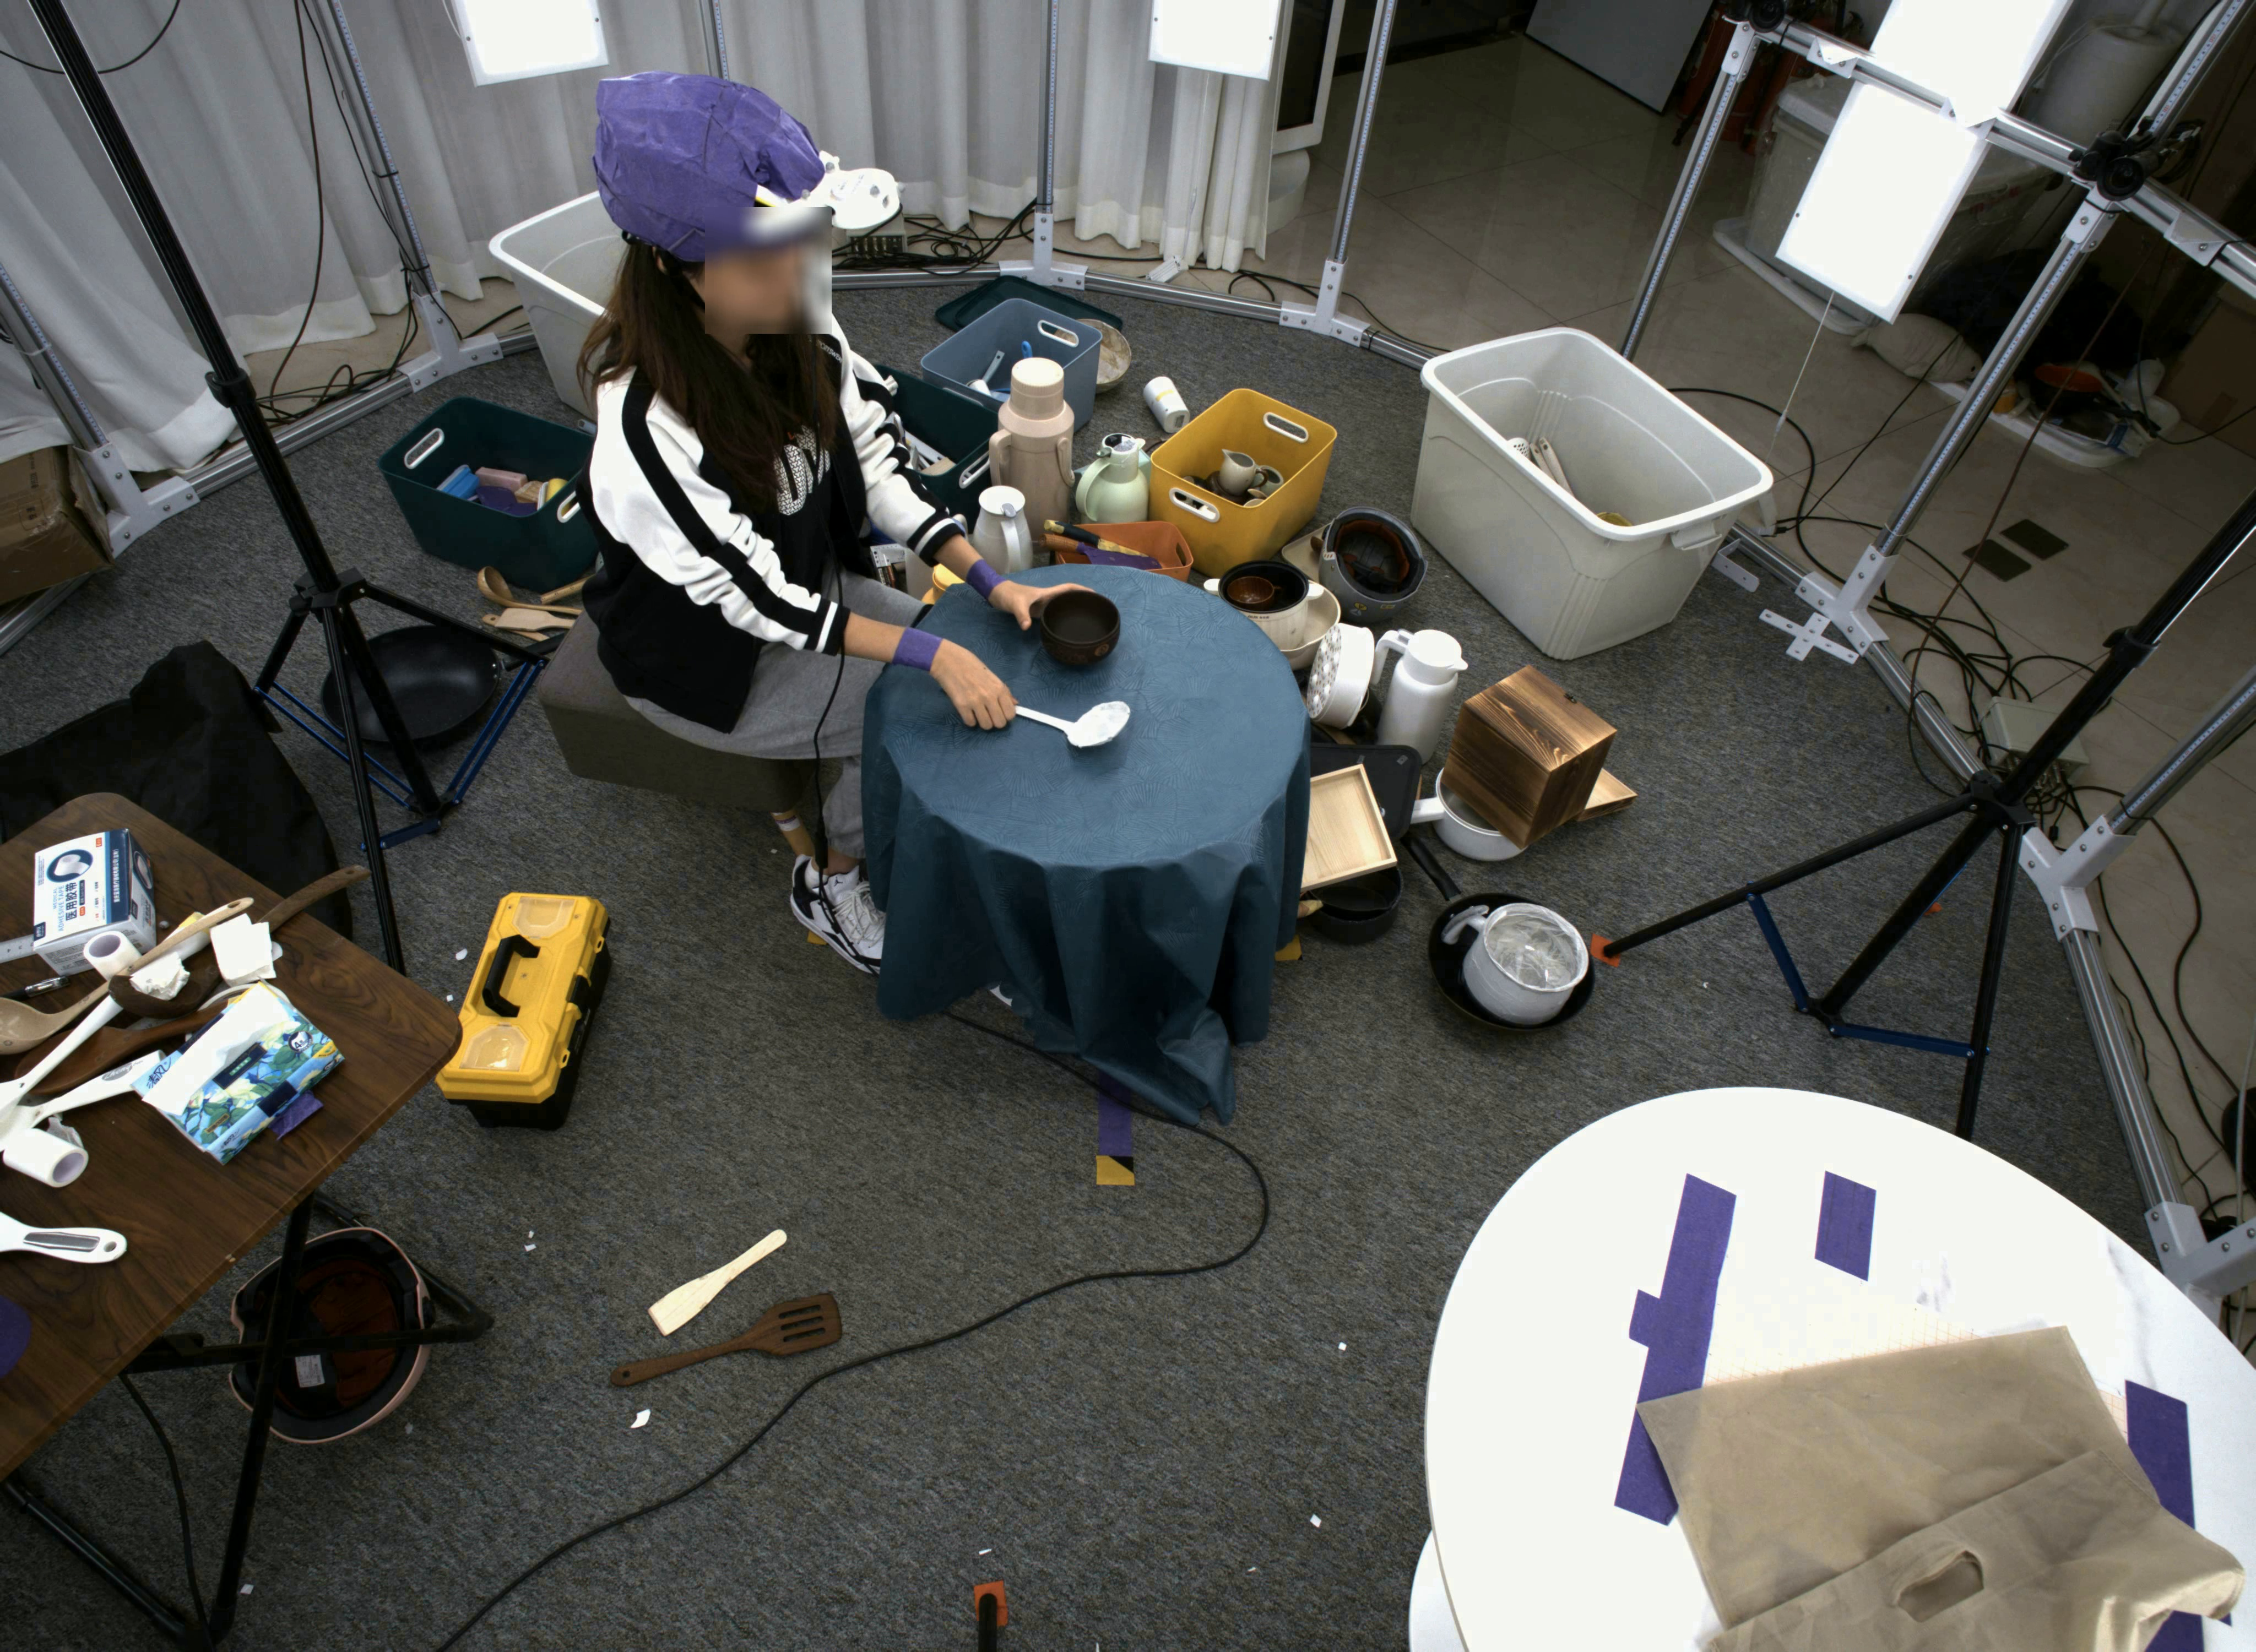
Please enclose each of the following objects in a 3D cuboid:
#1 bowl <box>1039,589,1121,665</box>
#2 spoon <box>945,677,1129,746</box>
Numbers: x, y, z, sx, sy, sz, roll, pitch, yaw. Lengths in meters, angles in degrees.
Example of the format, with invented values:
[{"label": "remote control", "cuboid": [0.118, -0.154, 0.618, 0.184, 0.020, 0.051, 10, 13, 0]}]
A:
[{"label": "bowl", "cuboid": [-0.070, -0.279, 1.860, 0.118, 0.068, 0.121, 2, 49, -3]}, {"label": "spoon", "cuboid": [-0.129, -0.178, 1.777, 0.279, 0.058, 0.102, 22, 47, 13]}]
